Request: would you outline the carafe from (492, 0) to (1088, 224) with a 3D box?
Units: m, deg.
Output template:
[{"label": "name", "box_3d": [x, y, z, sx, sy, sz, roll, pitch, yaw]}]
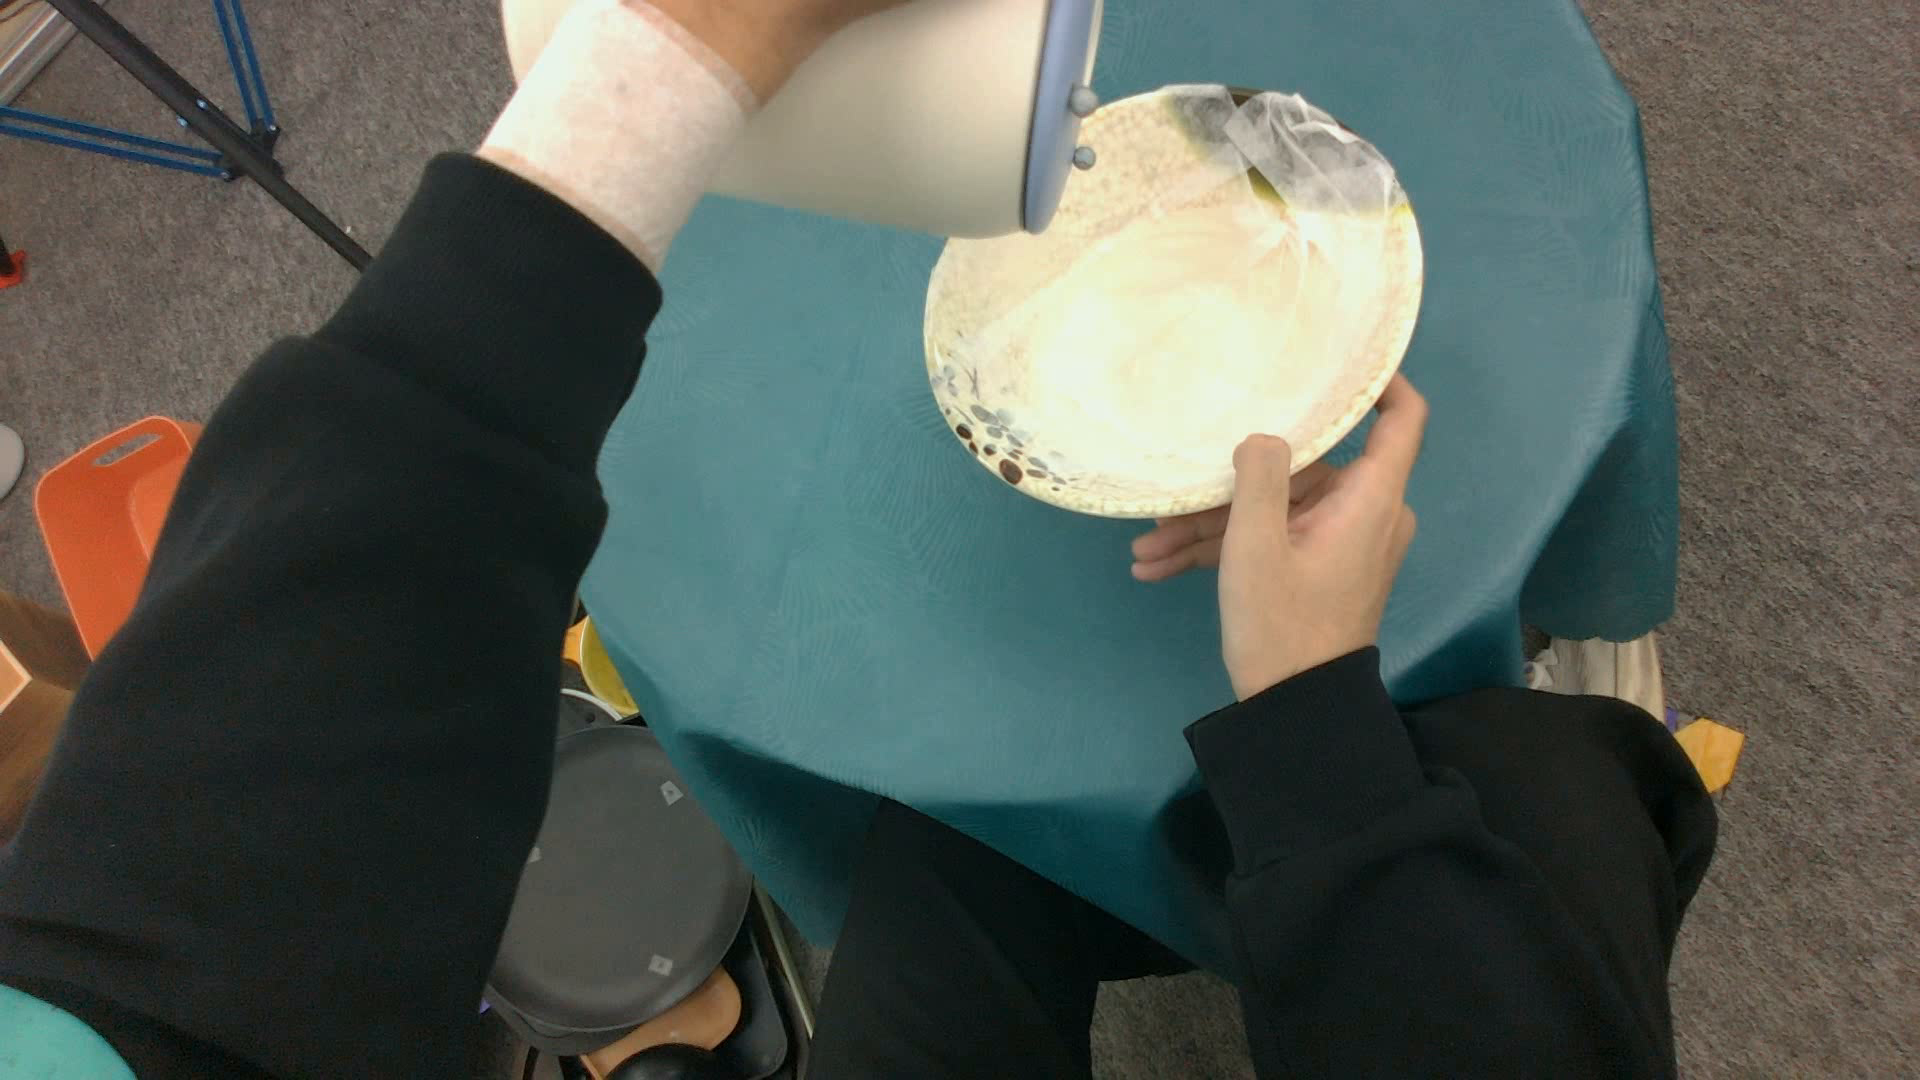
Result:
[{"label": "carafe", "box_3d": [-0.051, -0.187, 0.438, 0.182, 0.191, 0.132, 10, 79, 5]}]

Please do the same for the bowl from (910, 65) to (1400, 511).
[{"label": "bowl", "box_3d": [0.086, -0.097, 0.598, 0.203, 0.078, 0.204, -6, 70, 17]}]
